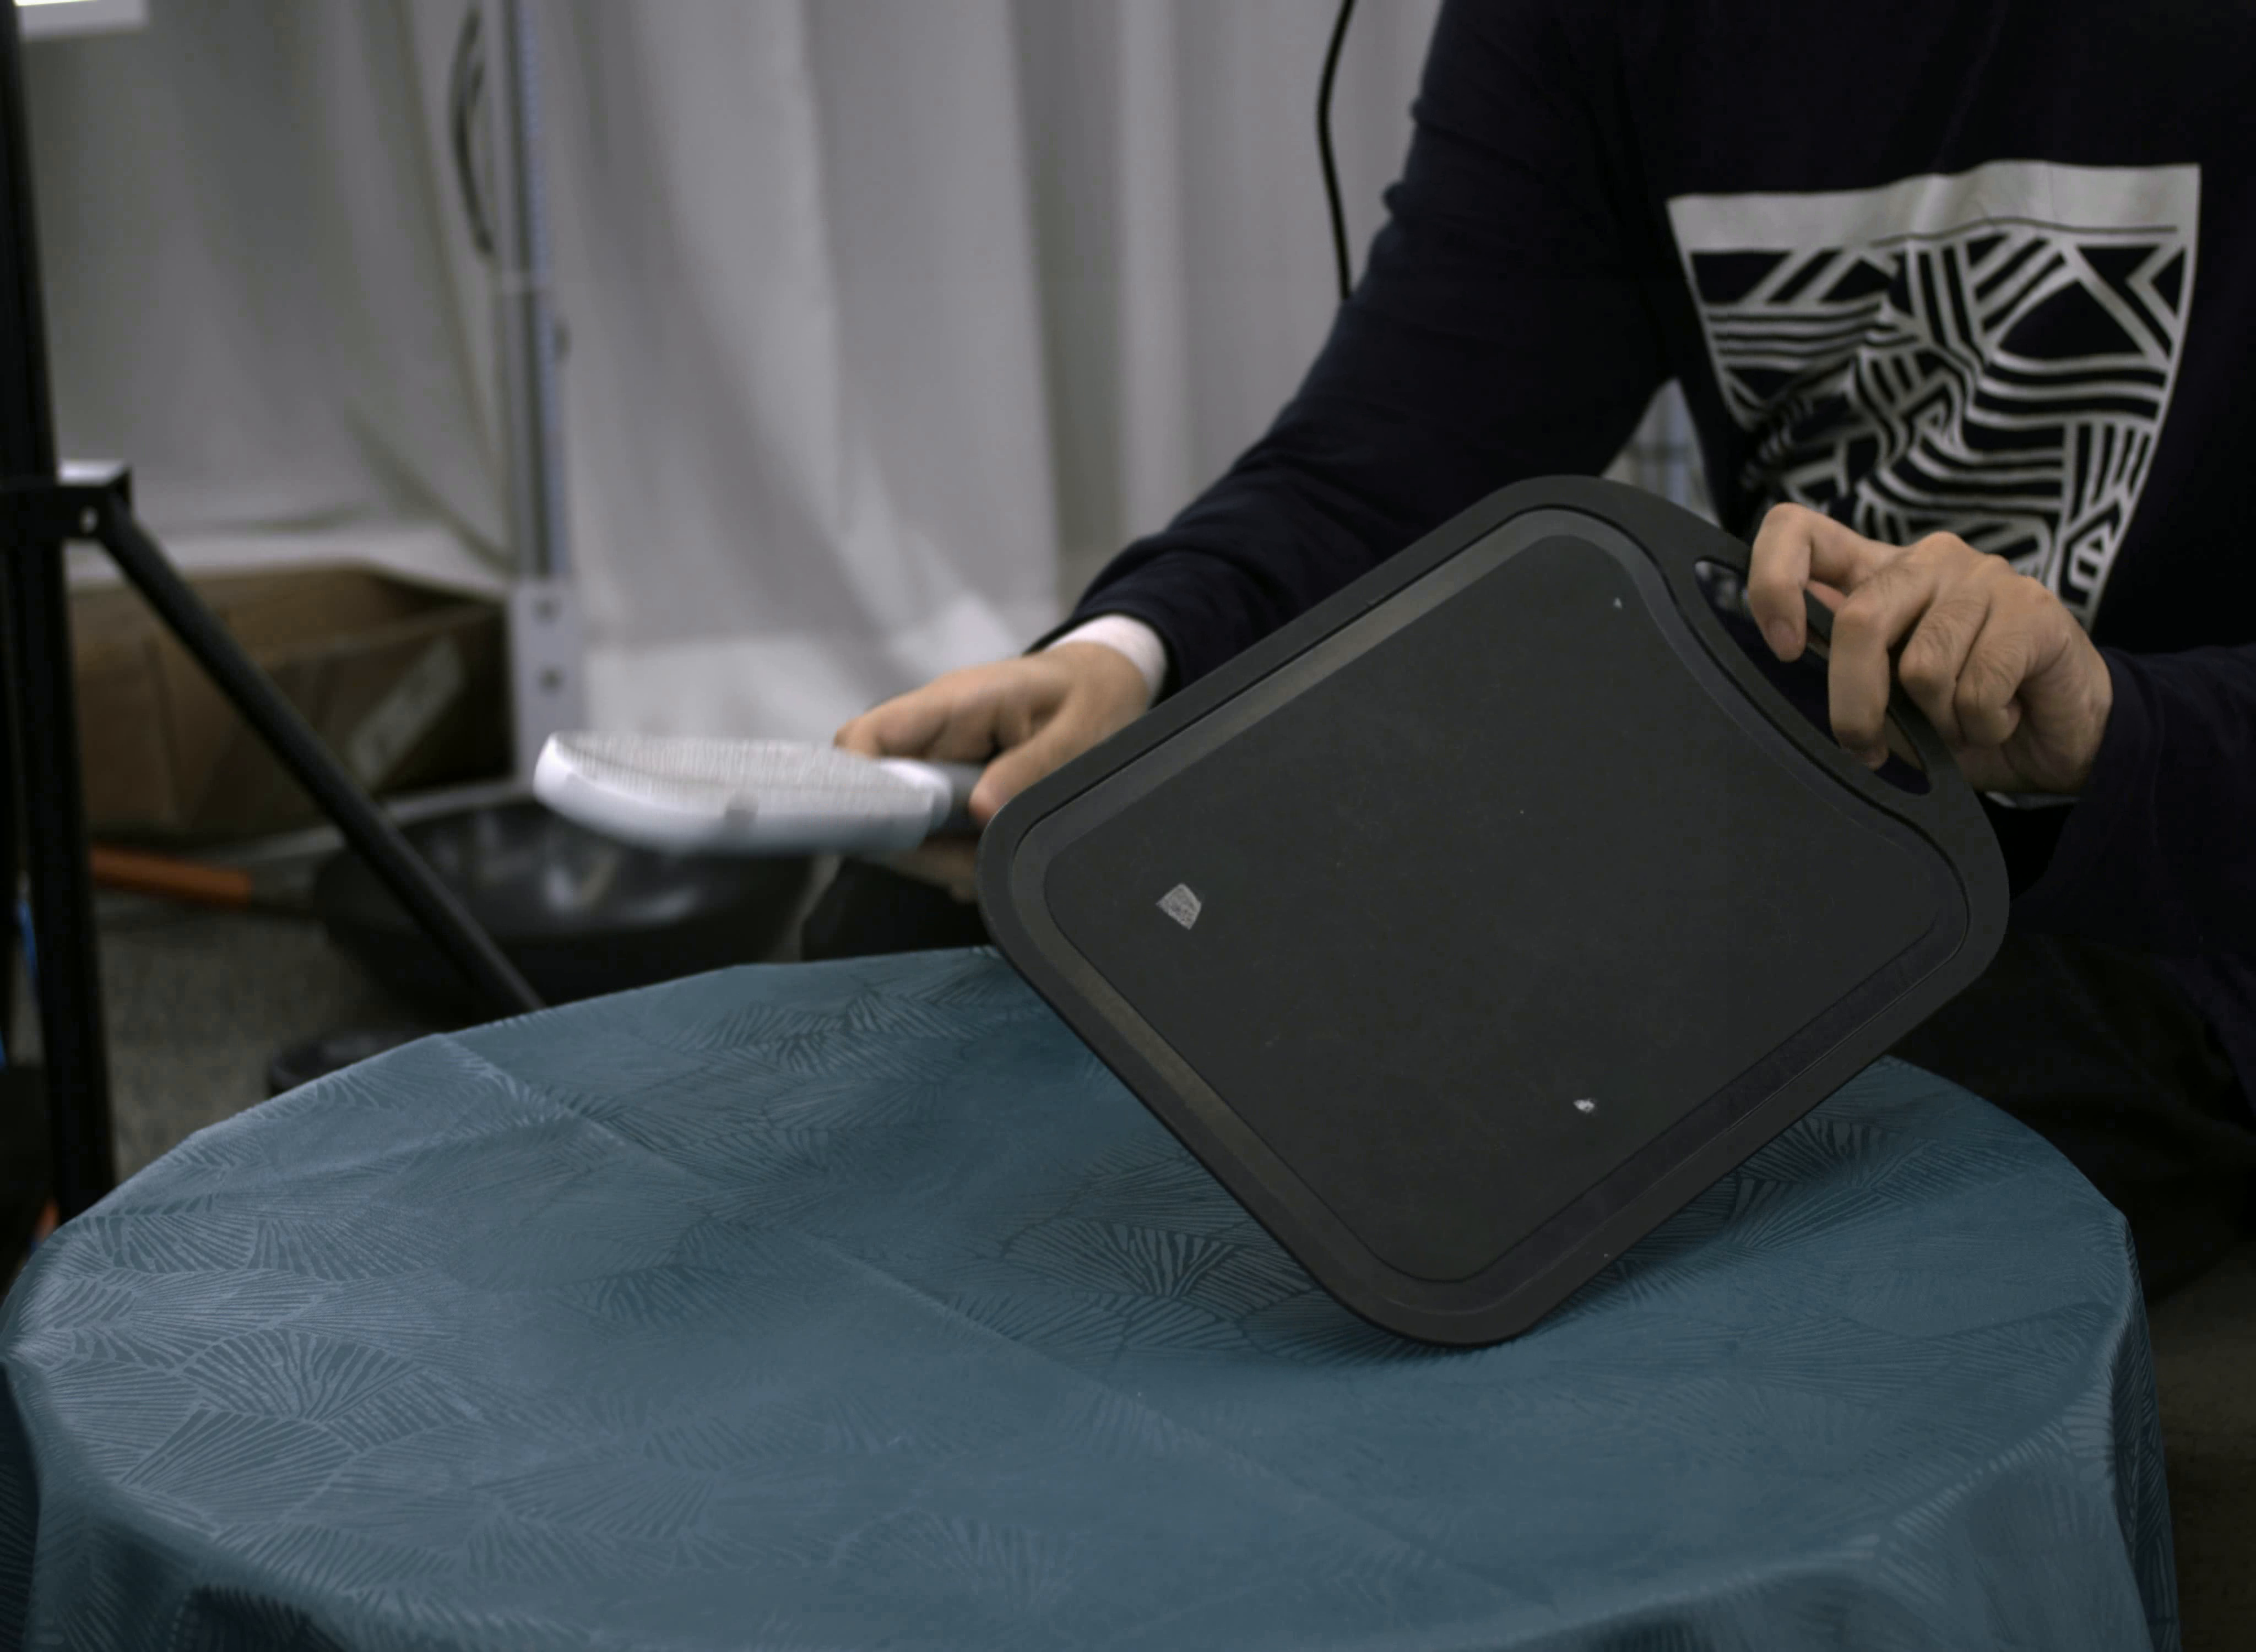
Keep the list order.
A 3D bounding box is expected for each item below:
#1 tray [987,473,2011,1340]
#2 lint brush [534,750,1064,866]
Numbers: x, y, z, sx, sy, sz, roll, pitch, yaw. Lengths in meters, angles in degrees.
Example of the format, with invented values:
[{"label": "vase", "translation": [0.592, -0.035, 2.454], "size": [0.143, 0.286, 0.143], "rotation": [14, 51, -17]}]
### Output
[{"label": "tray", "translation": [0.119, 0.011, 1.538], "size": [0.320, 0.010, 0.214], "rotation": [-31, 70, -37]}, {"label": "lint brush", "translation": [-0.087, -0.006, 1.660], "size": [0.061, 0.021, 0.302], "rotation": [24, 12, 26]}]
